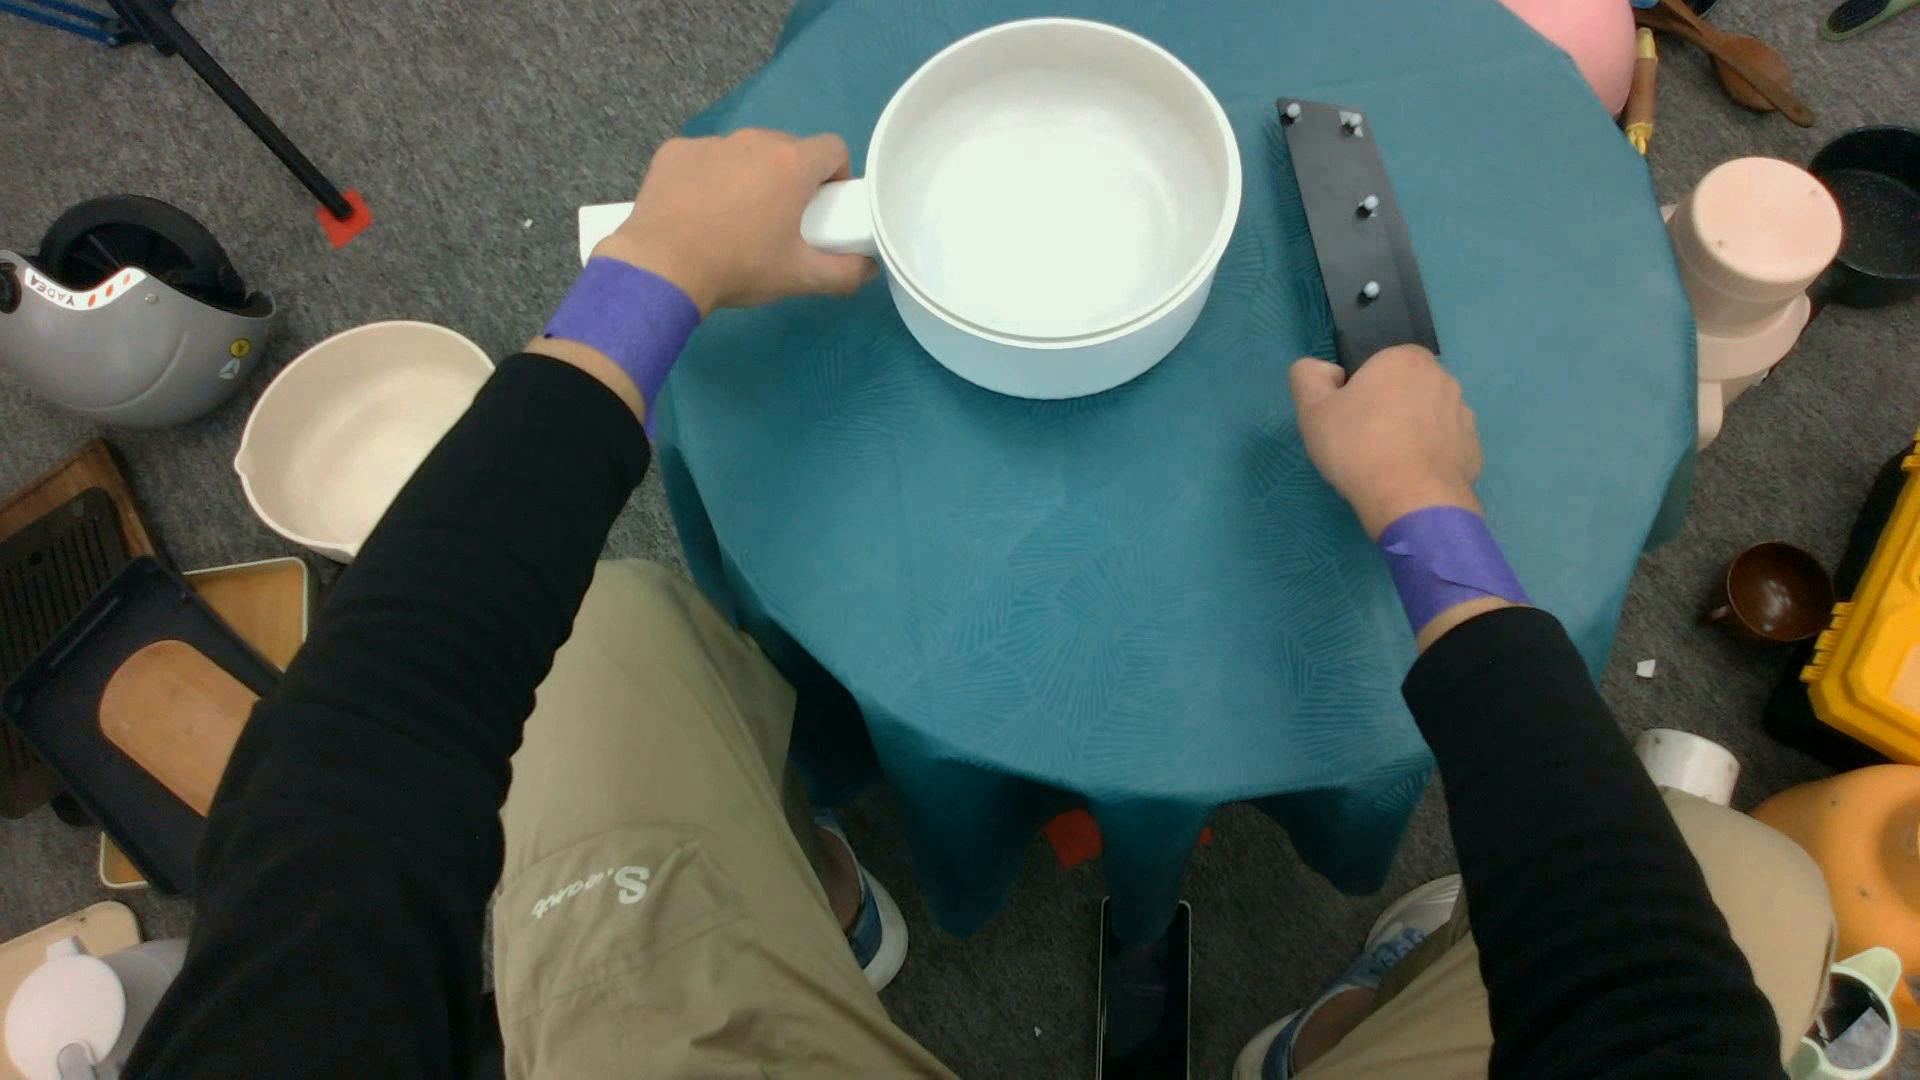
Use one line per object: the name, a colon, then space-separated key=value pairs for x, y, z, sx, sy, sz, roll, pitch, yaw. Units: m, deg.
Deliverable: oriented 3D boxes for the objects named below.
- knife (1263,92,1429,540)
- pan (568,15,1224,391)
knife: x=0.226 y=-0.138 z=0.782 sx=0.081 sy=0.021 sz=0.303 roll=6 pitch=62 yaw=-15
pan: x=-0.033 y=-0.175 z=0.781 sx=0.355 sy=0.102 sz=0.202 roll=-7 pitch=71 yaw=1
